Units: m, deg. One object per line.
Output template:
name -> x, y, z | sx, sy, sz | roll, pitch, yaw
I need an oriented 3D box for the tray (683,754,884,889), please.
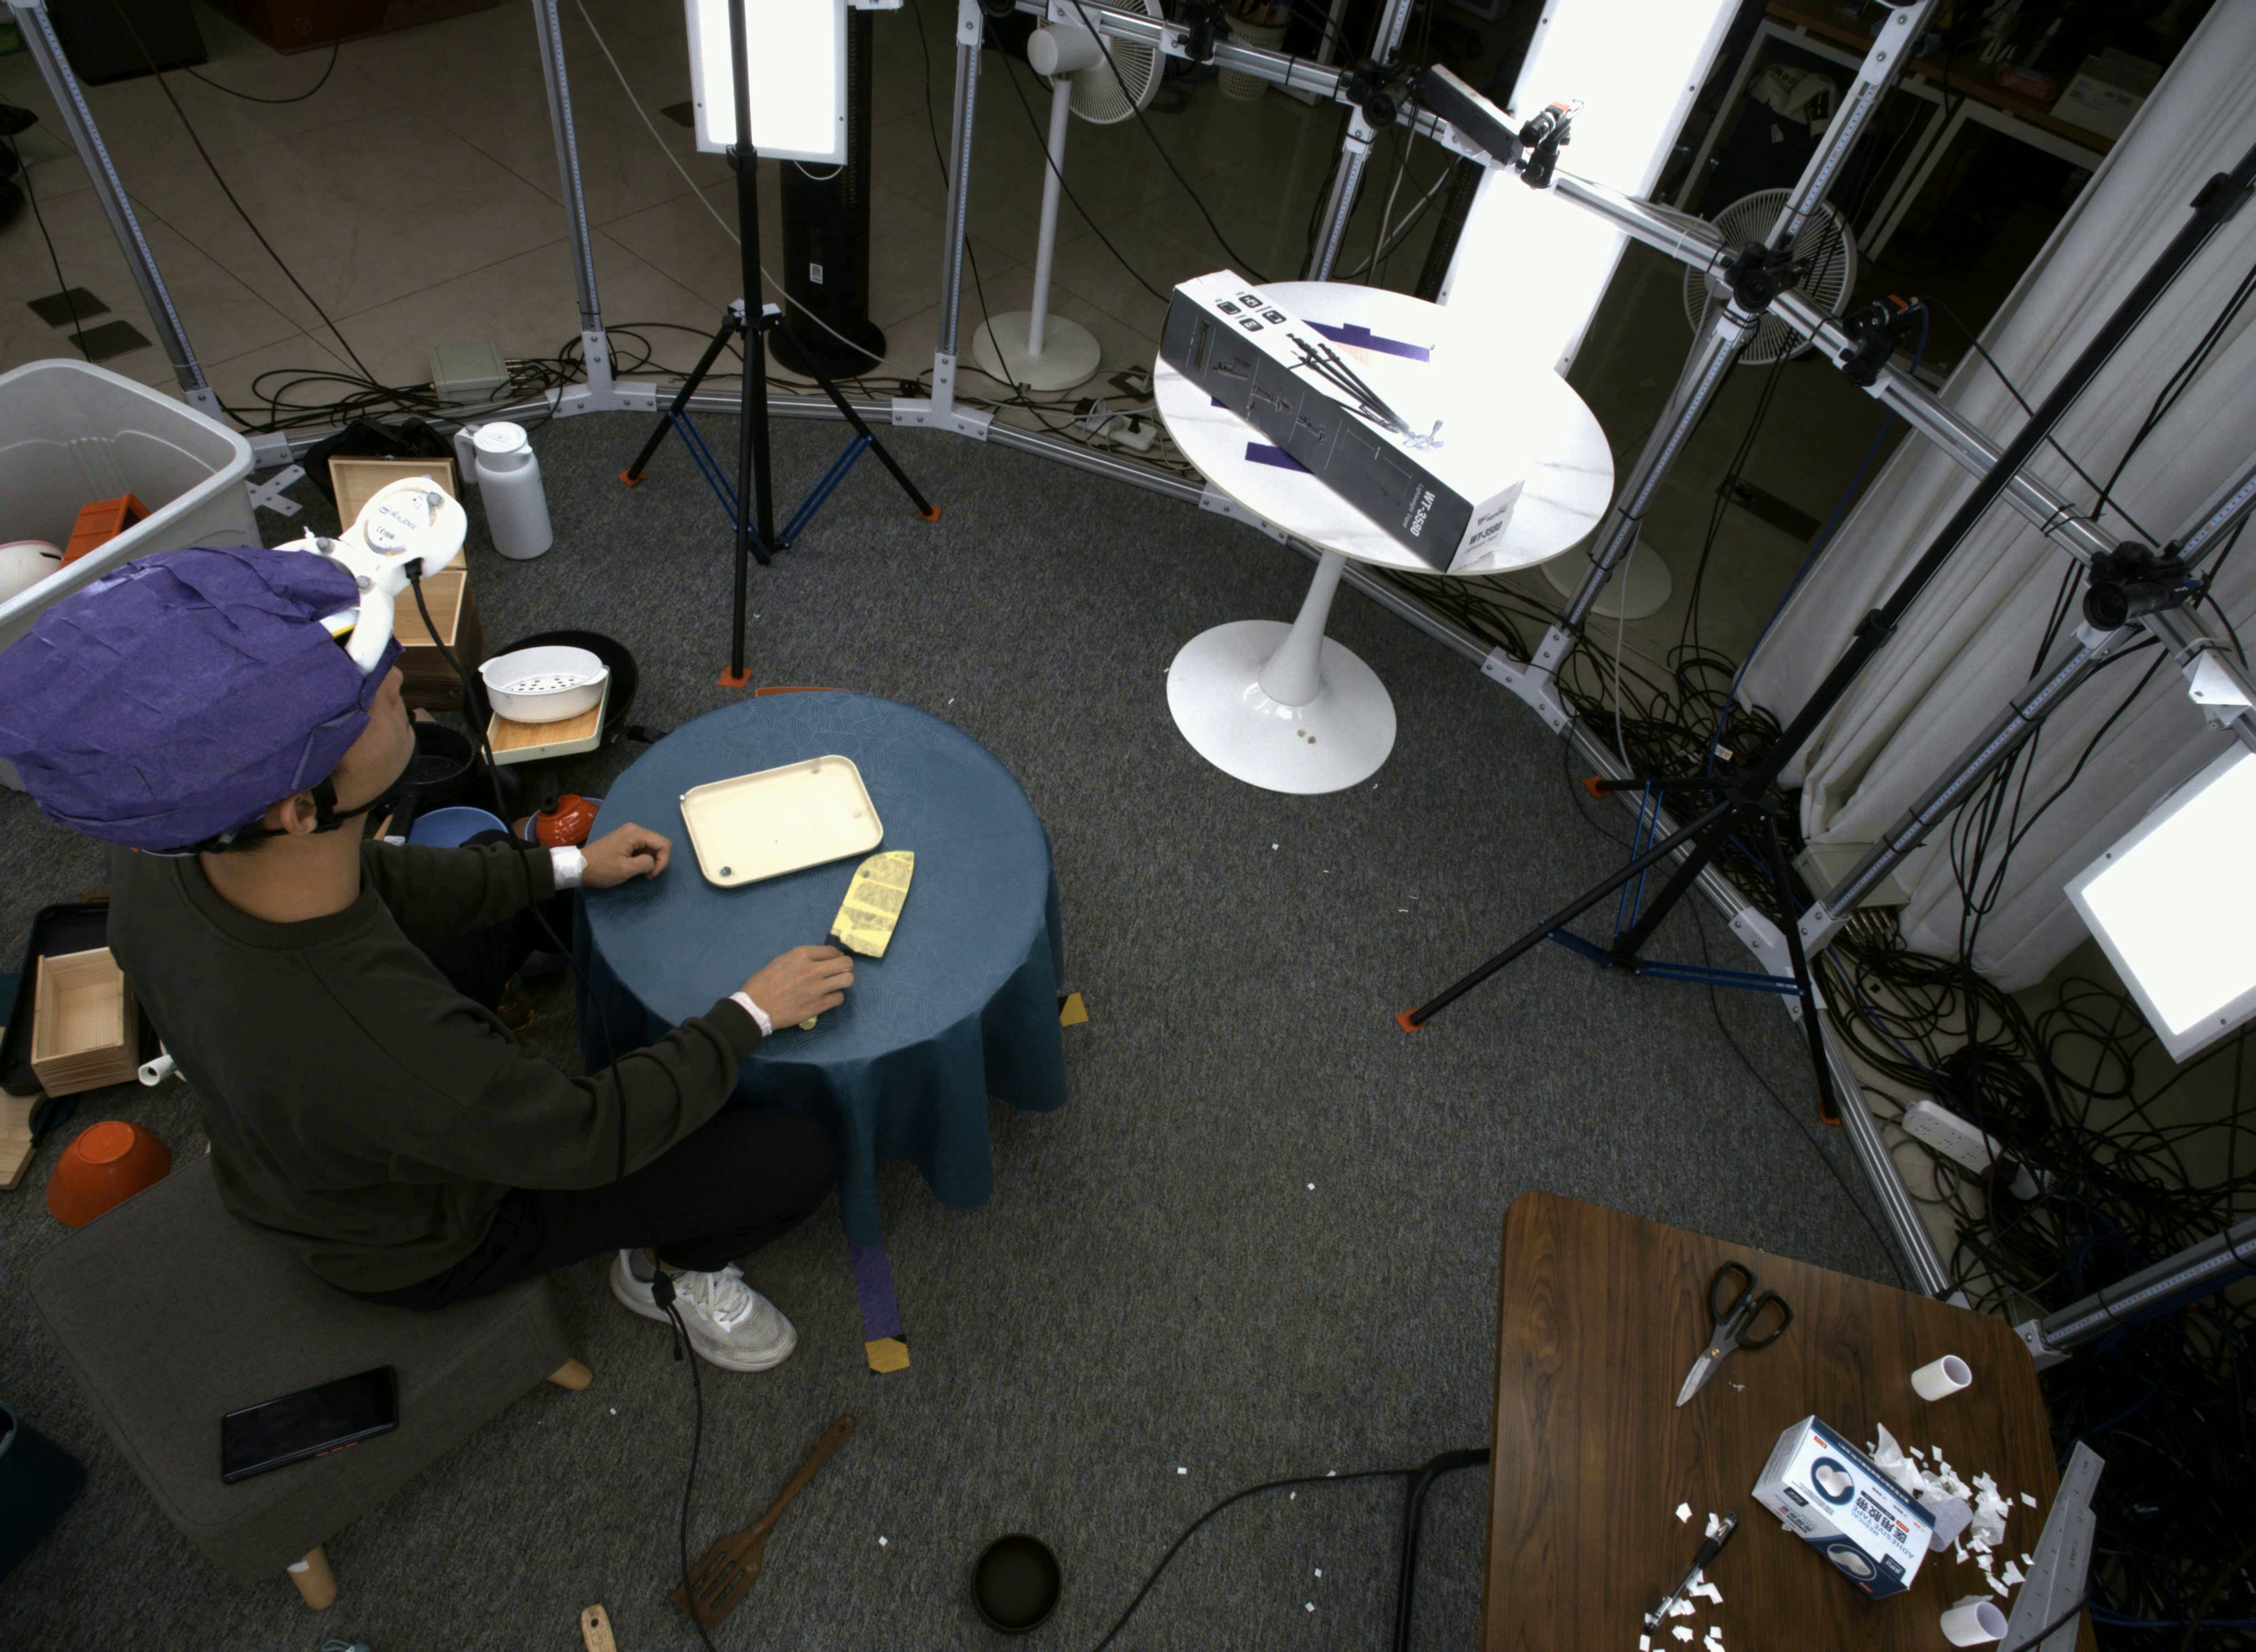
tray -> -0.457, -0.008, 1.721 | 0.241, 0.018, 0.167 | -16, 60, -24

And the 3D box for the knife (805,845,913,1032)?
knife -> -0.337, 0.135, 1.640 | 0.080, 0.028, 0.286 | 19, 54, -1
